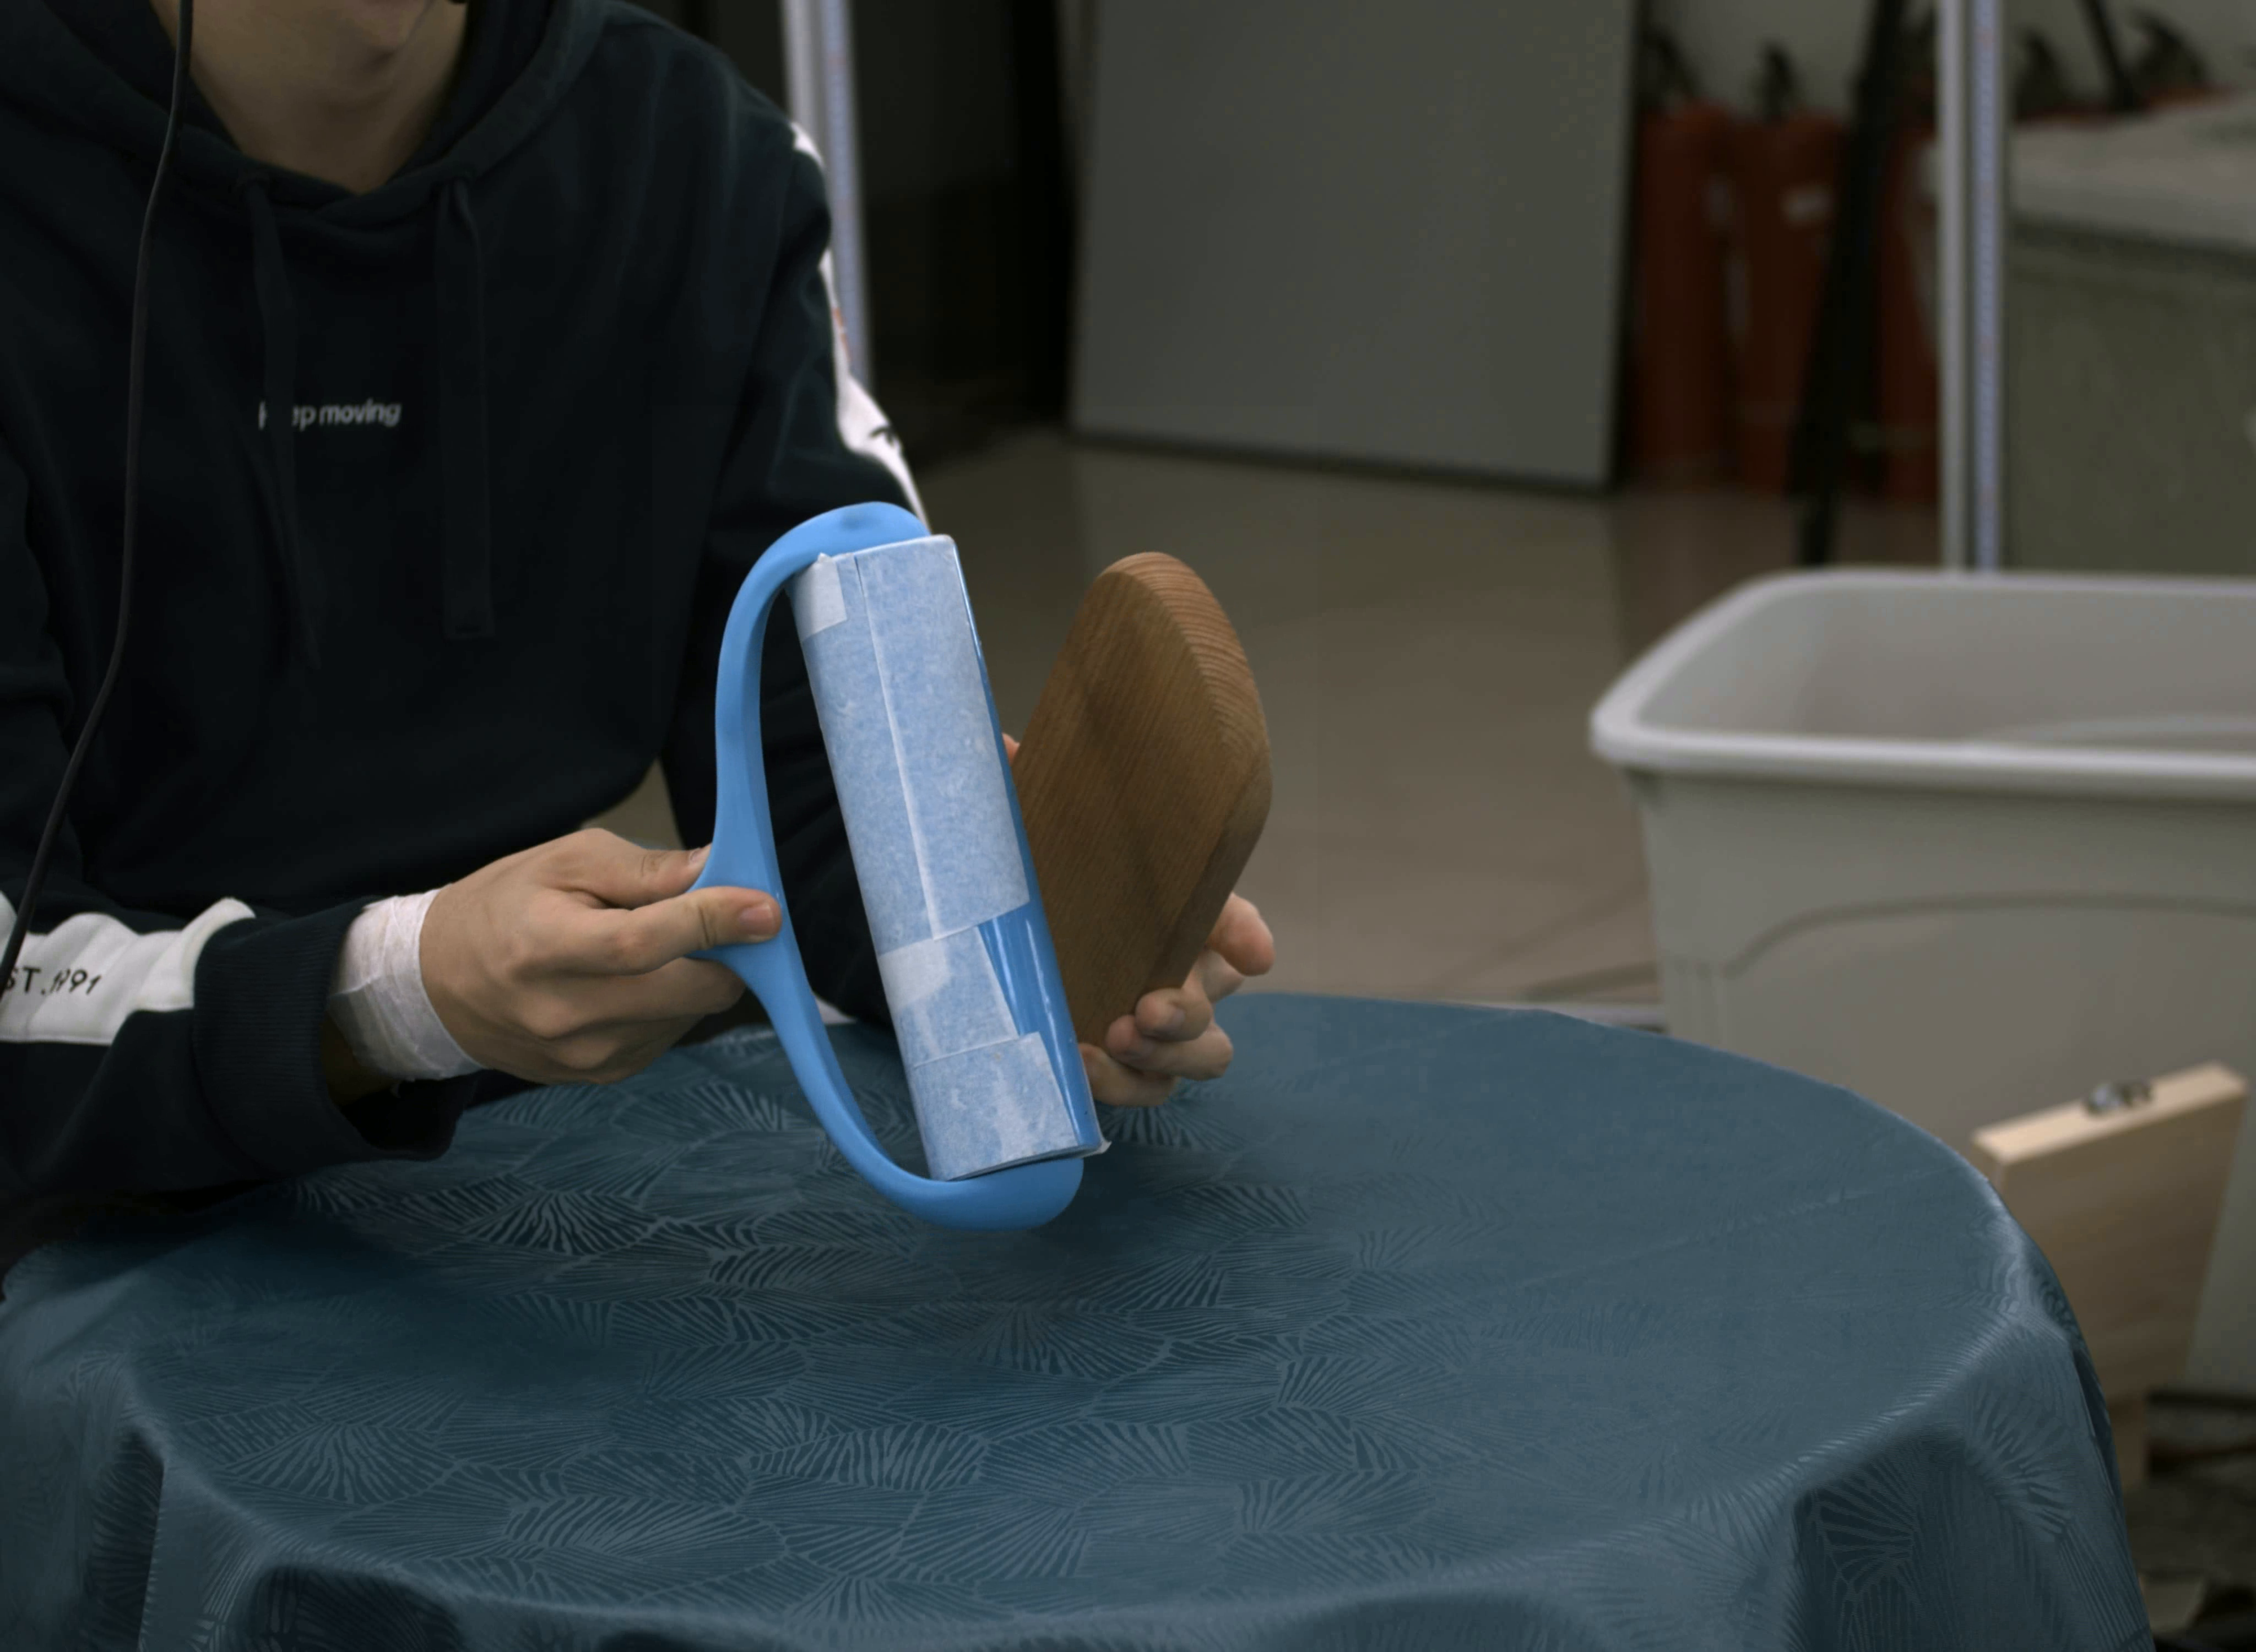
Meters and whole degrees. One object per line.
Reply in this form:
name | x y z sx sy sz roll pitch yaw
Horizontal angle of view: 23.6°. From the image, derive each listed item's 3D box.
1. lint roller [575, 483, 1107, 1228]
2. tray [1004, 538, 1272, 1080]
lint roller | -0.106 0.027 1.658 0.180 0.232 0.067 -20 -9 24
tray | -0.006 -0.002 1.699 0.020 0.103 0.233 -14 -27 -26
